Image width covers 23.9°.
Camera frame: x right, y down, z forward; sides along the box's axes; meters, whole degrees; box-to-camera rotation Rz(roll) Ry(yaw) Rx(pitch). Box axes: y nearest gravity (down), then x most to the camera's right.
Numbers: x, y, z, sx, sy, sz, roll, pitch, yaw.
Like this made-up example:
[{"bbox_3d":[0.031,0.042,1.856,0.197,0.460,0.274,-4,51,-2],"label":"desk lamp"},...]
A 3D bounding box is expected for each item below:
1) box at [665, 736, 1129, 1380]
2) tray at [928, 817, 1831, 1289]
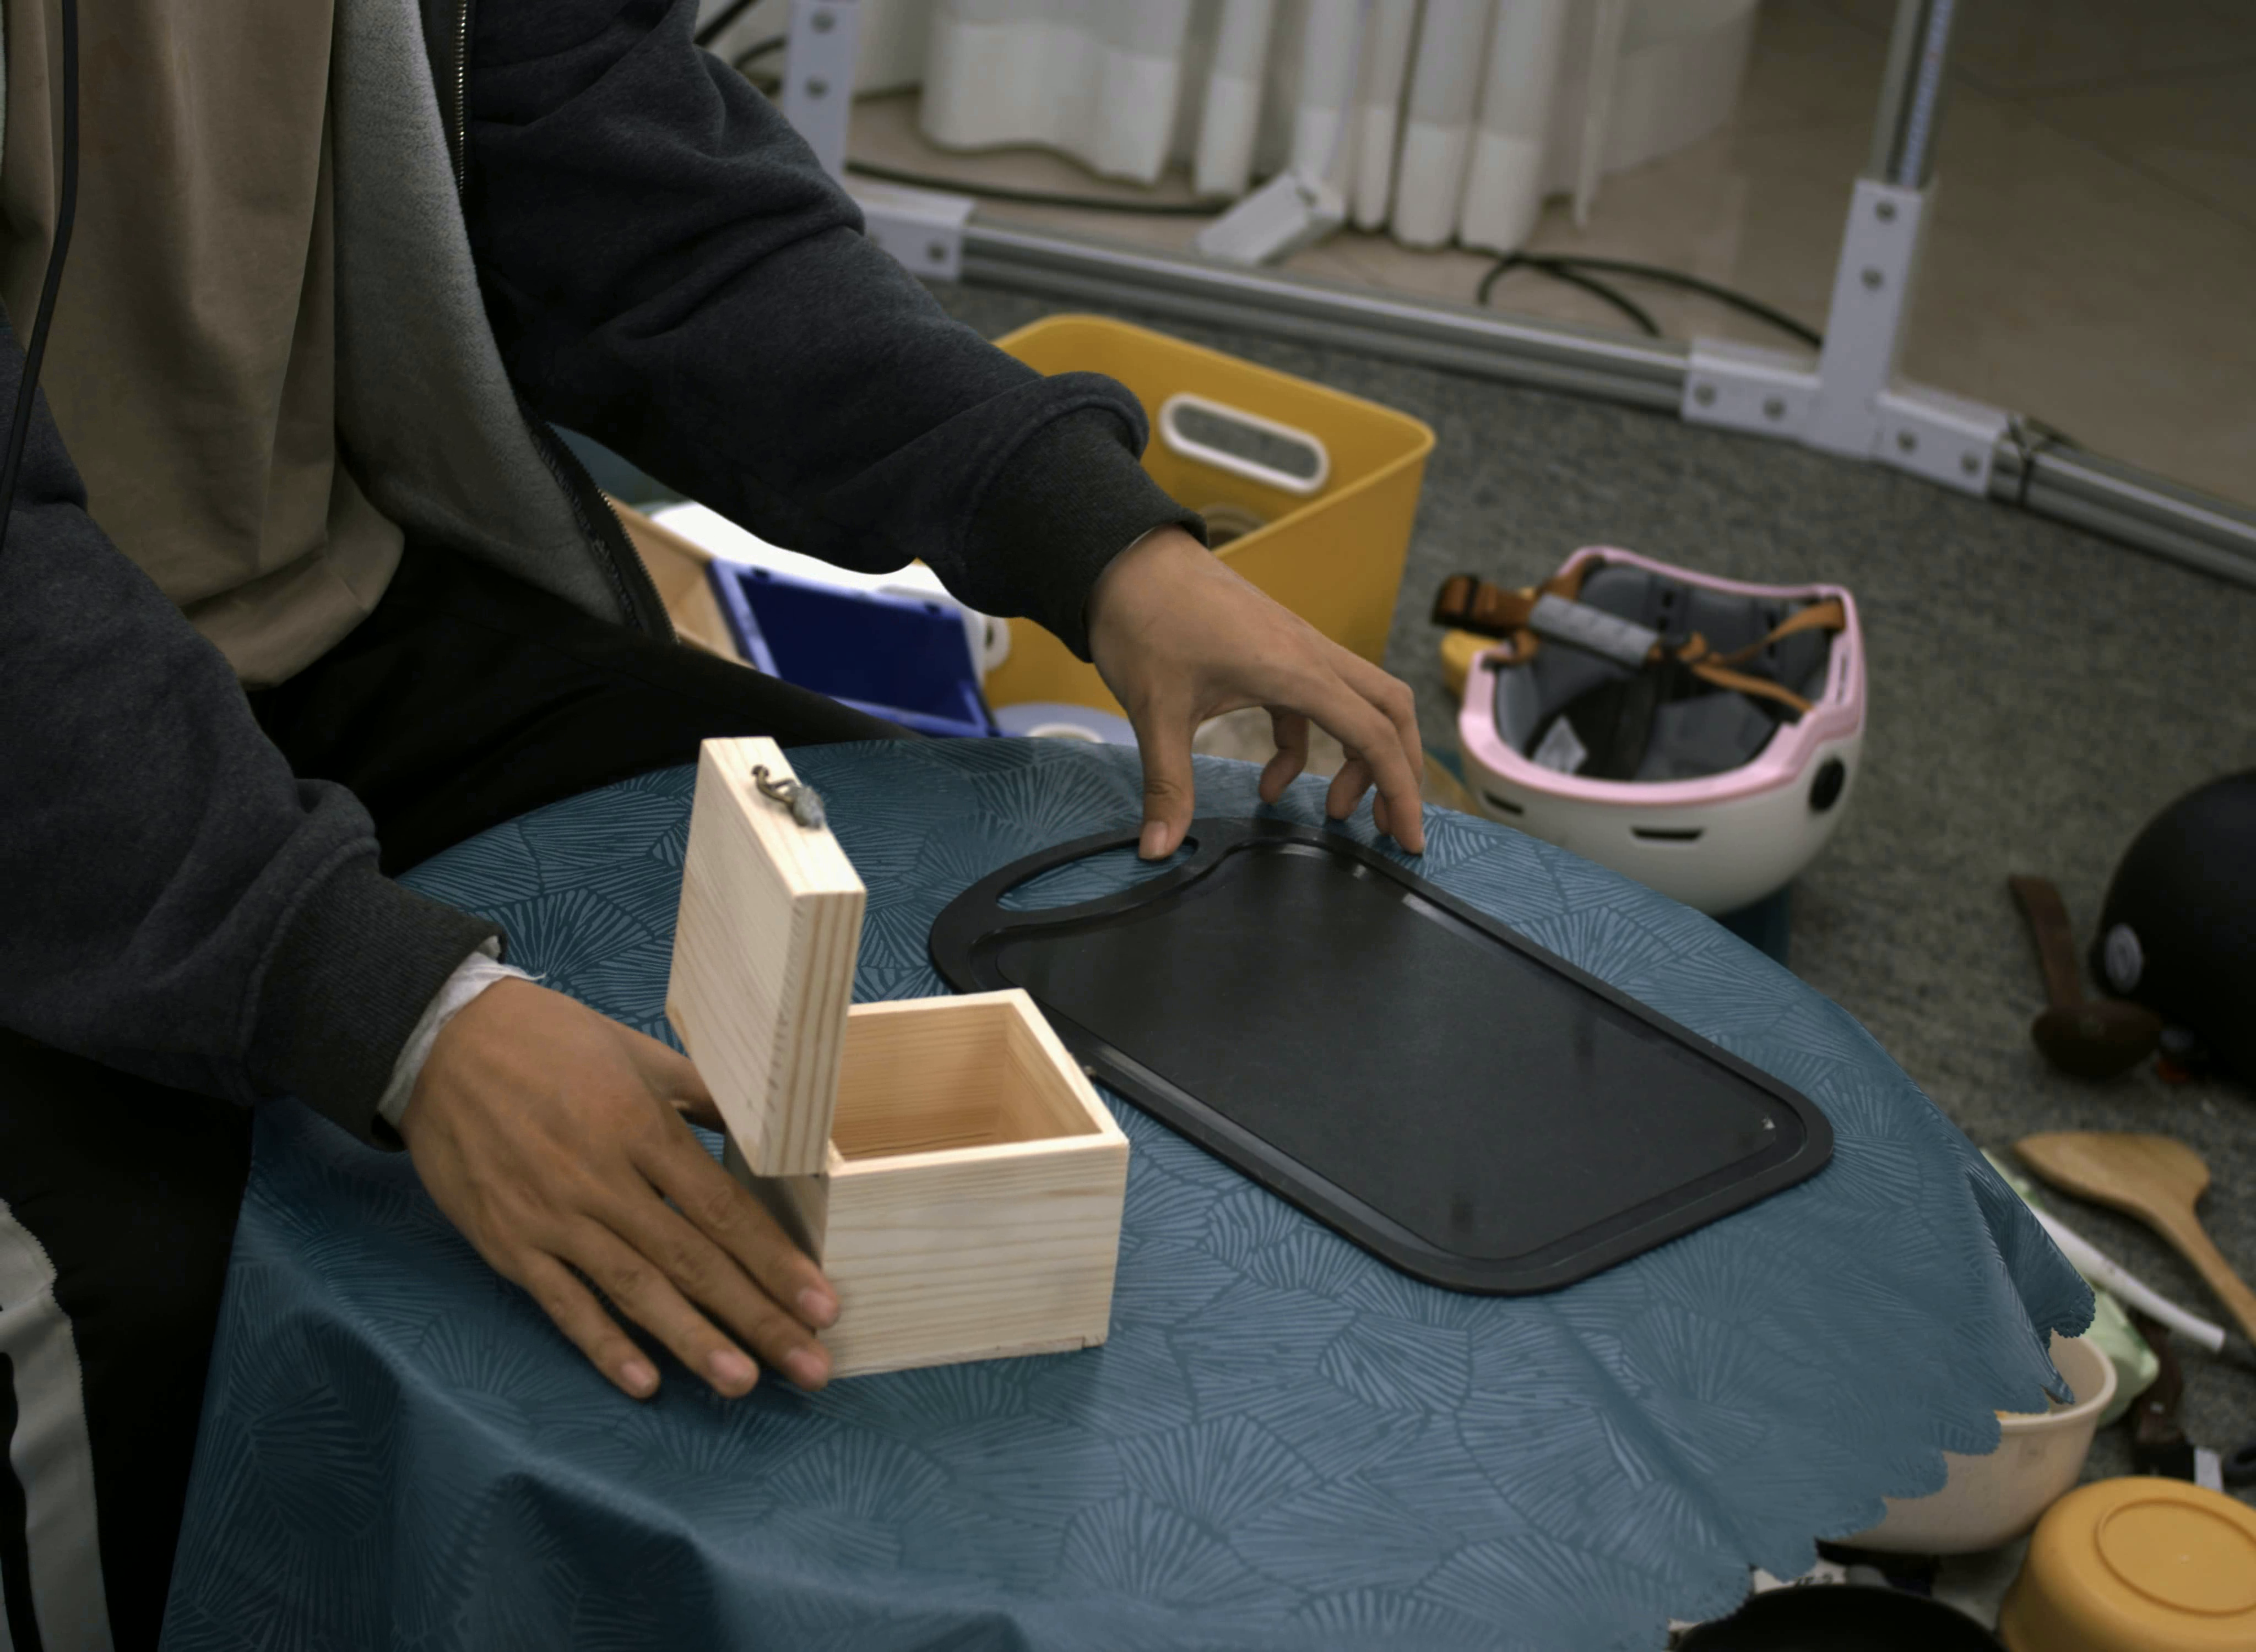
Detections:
[{"bbox_3d":[-0.071,0.068,1.691,0.133,0.184,0.103,-6,29,-21],"label":"box"},{"bbox_3d":[0.081,0.072,1.914,0.210,0.010,0.328,-18,36,-39],"label":"tray"}]
